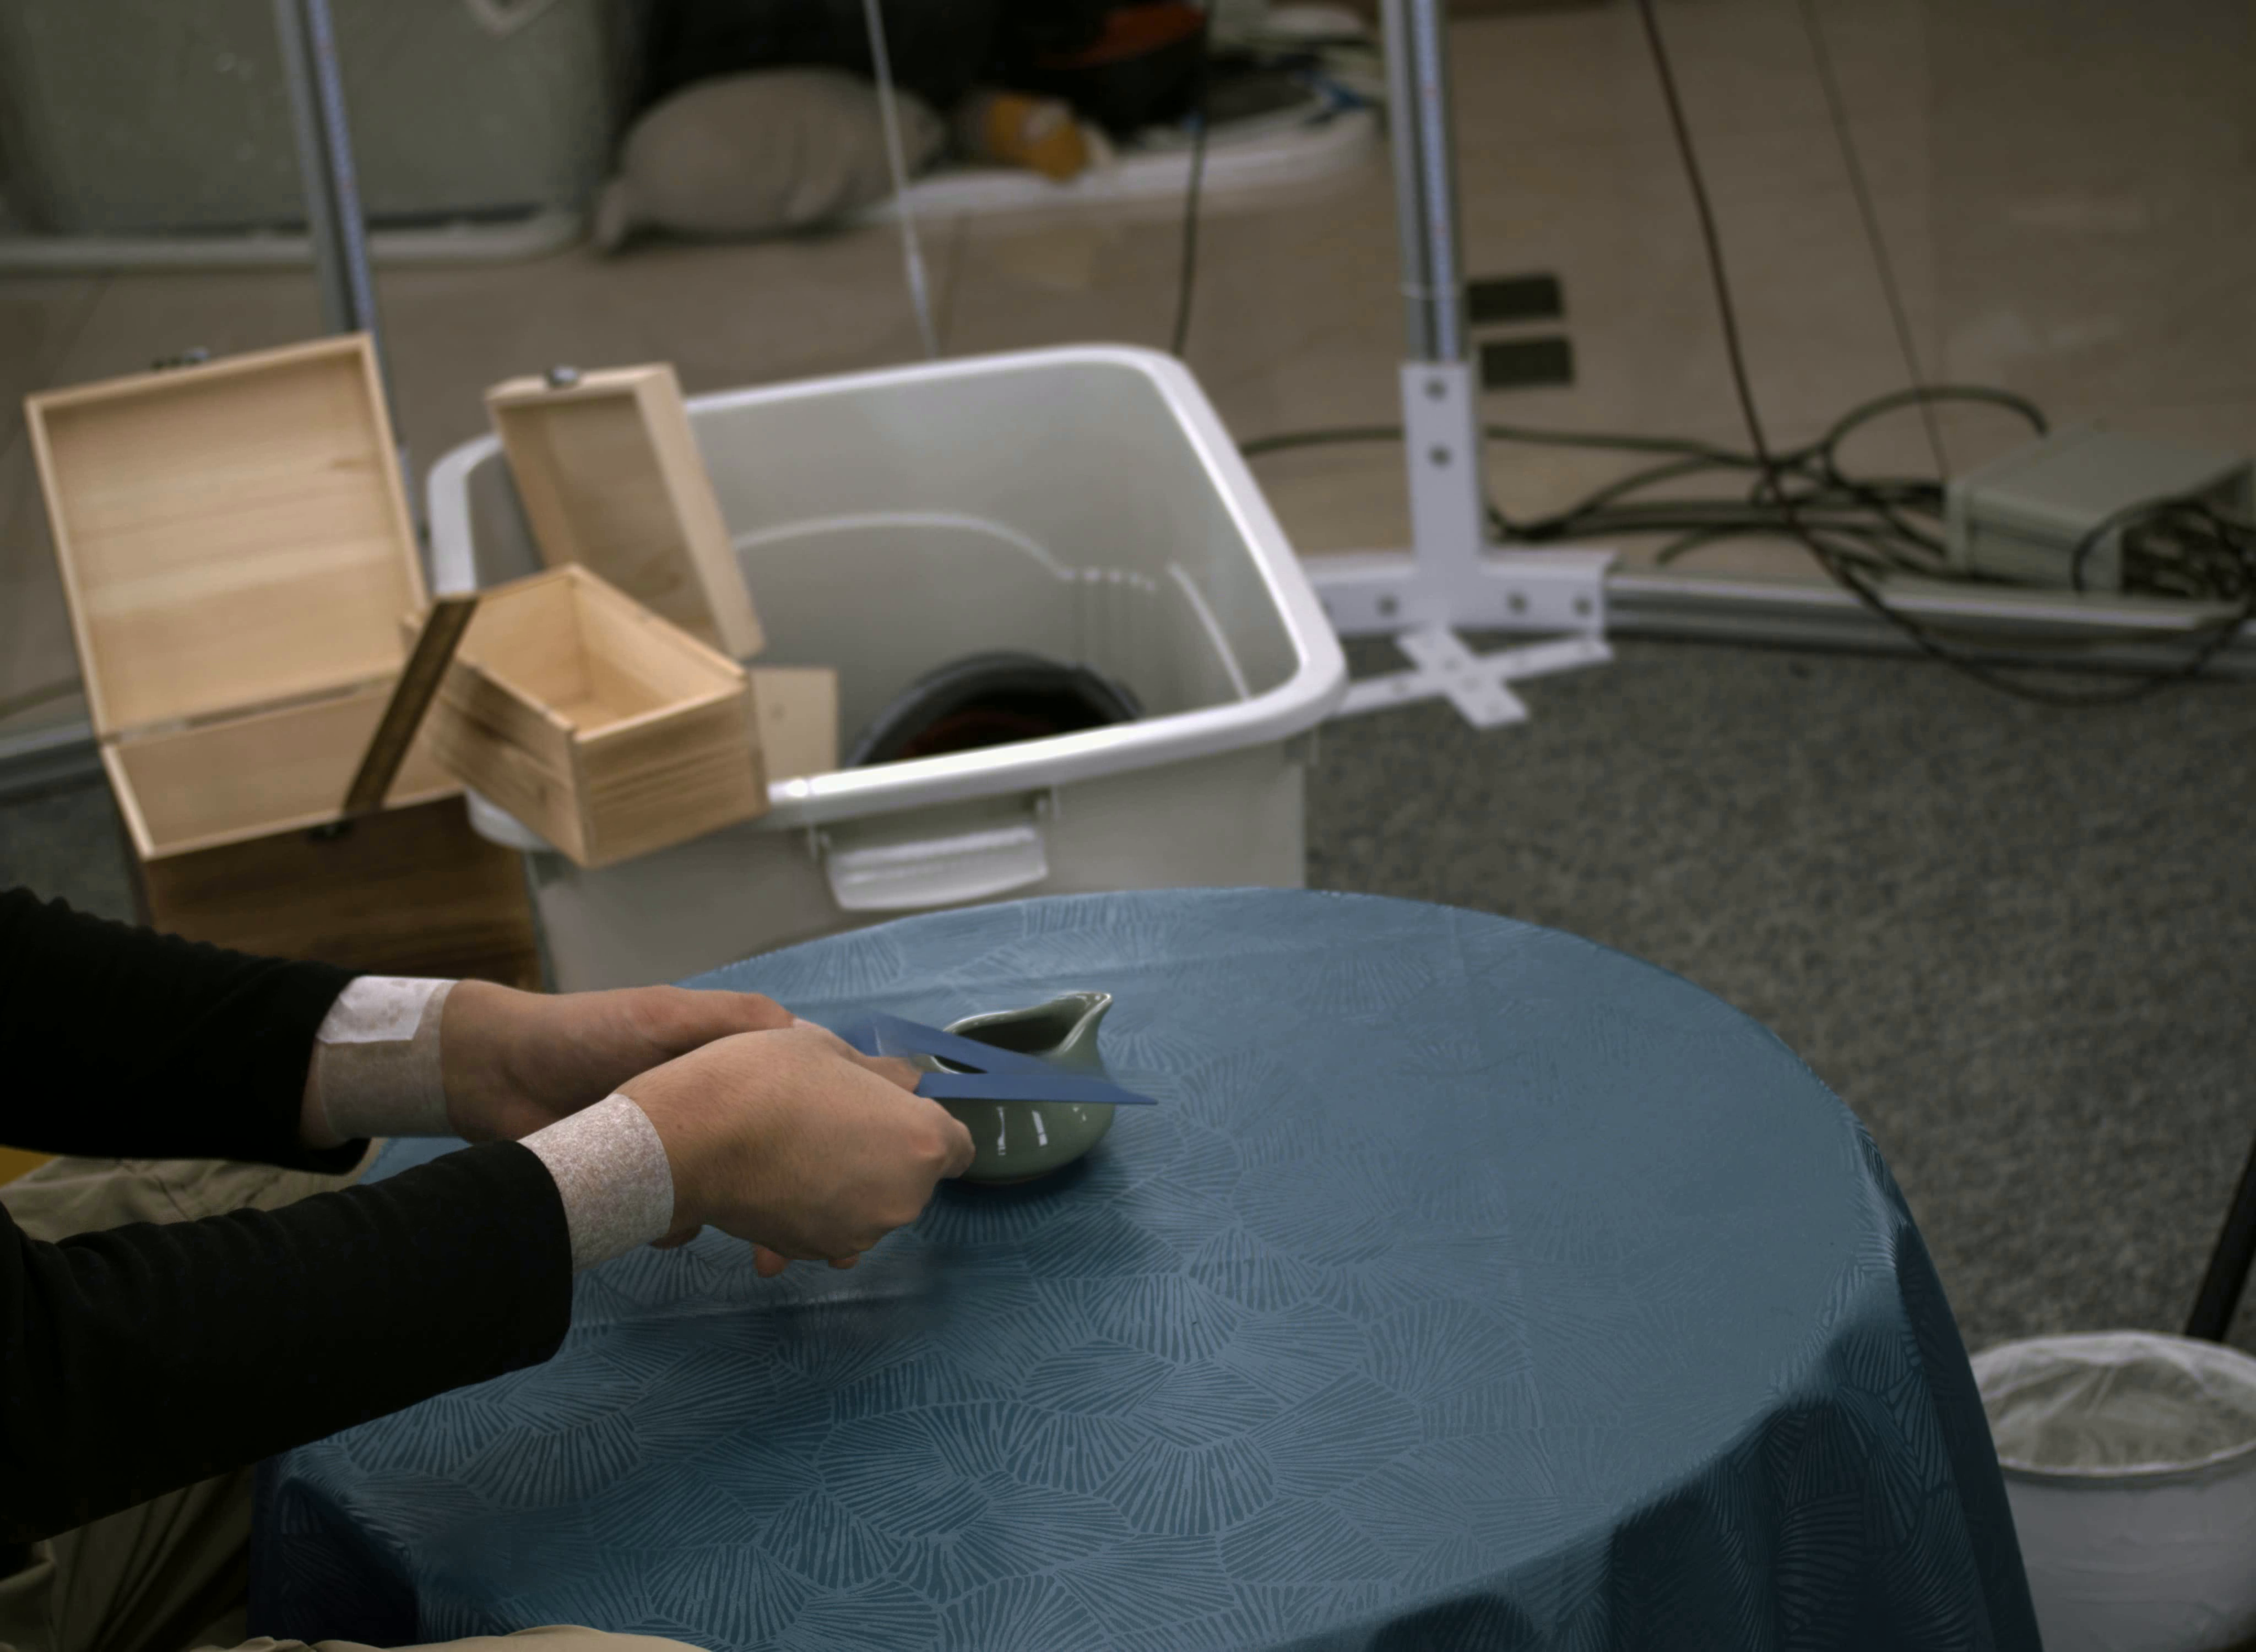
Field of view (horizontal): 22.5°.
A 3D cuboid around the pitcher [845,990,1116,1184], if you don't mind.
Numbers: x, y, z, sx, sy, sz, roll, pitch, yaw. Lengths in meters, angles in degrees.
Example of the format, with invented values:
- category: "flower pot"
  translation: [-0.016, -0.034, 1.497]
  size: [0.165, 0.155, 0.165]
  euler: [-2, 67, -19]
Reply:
- category: "pitcher"
  translation: [-0.054, 0.103, 2.172]
  size: [0.112, 0.057, 0.083]
  euler: [-16, 25, -20]

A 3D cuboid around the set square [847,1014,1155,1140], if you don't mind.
- category: "set square"
  translation: [-0.057, 0.101, 2.096]
  size: [0.131, 0.006, 0.060]
  euler: [20, 31, 20]
